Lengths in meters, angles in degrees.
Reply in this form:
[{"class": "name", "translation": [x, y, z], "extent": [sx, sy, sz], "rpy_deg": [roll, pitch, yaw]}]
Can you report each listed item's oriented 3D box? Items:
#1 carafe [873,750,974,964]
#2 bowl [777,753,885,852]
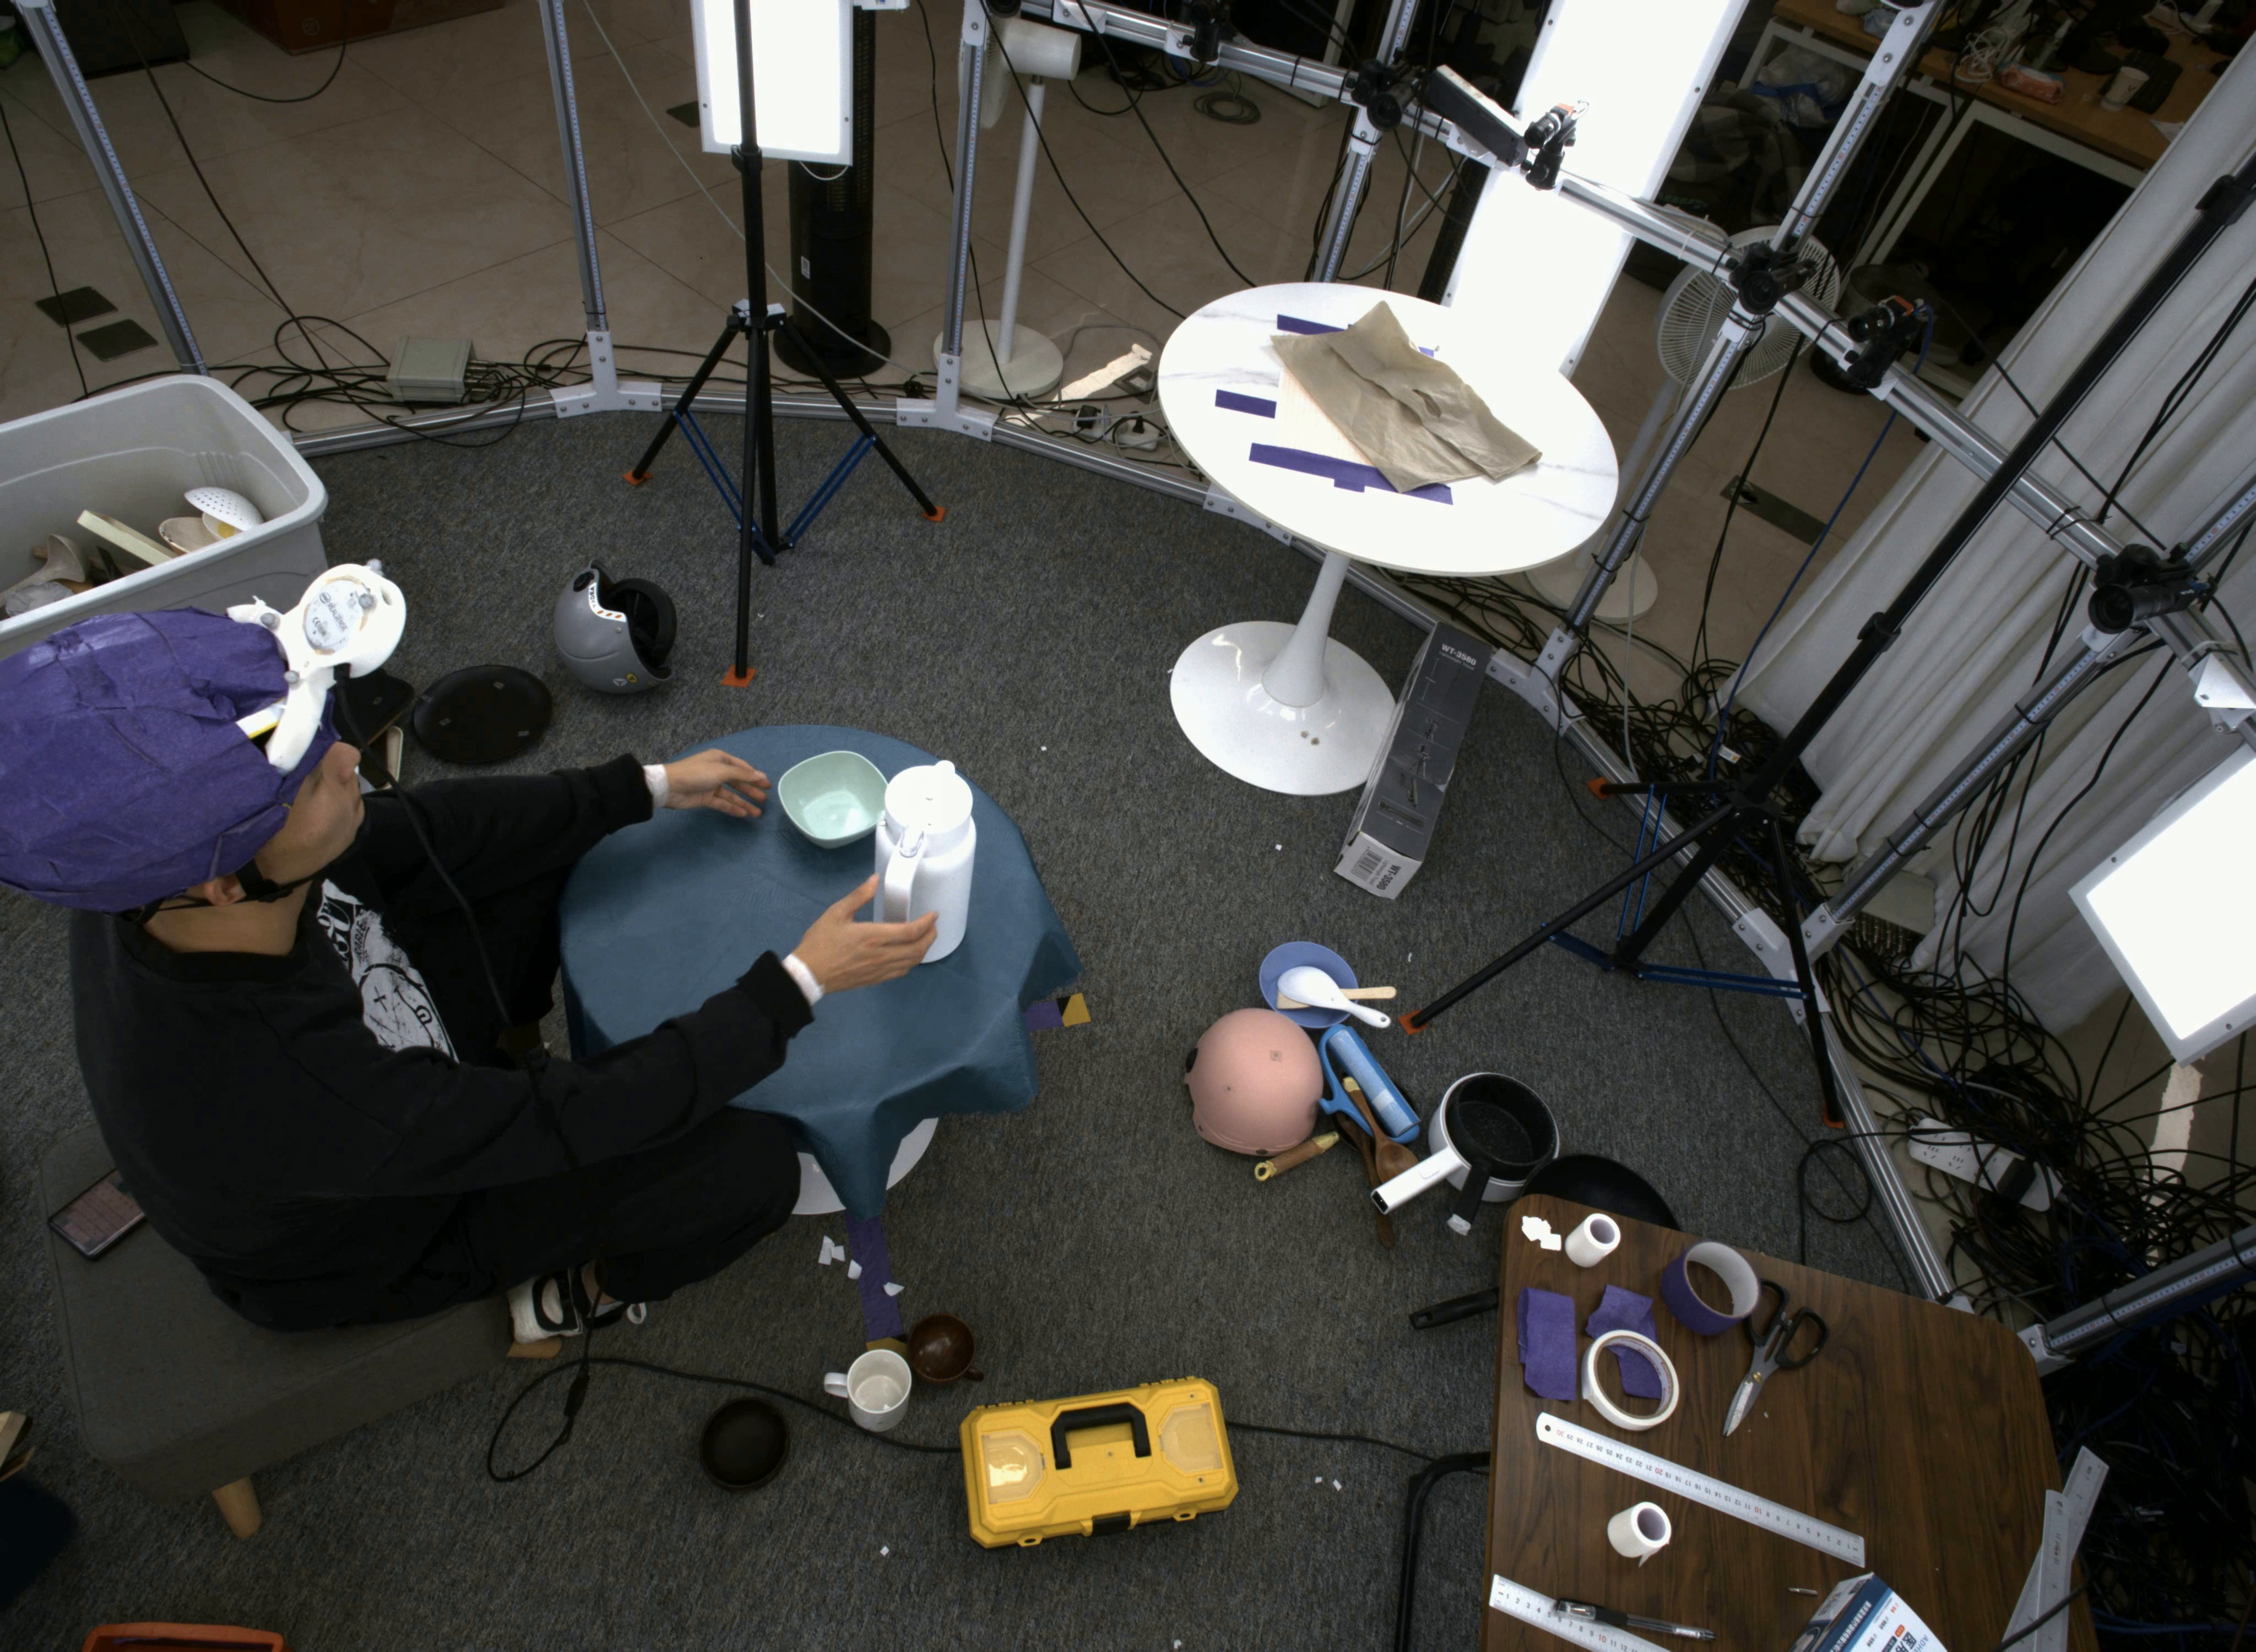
[{"class": "carafe", "translation": [-0.250, 0.058, 1.551], "extent": [0.123, 0.274, 0.170], "rpy_deg": [16, 51, -1]}, {"class": "bowl", "translation": [-0.387, -0.023, 1.715], "extent": [0.151, 0.060, 0.149], "rpy_deg": [7, 52, -8]}]
